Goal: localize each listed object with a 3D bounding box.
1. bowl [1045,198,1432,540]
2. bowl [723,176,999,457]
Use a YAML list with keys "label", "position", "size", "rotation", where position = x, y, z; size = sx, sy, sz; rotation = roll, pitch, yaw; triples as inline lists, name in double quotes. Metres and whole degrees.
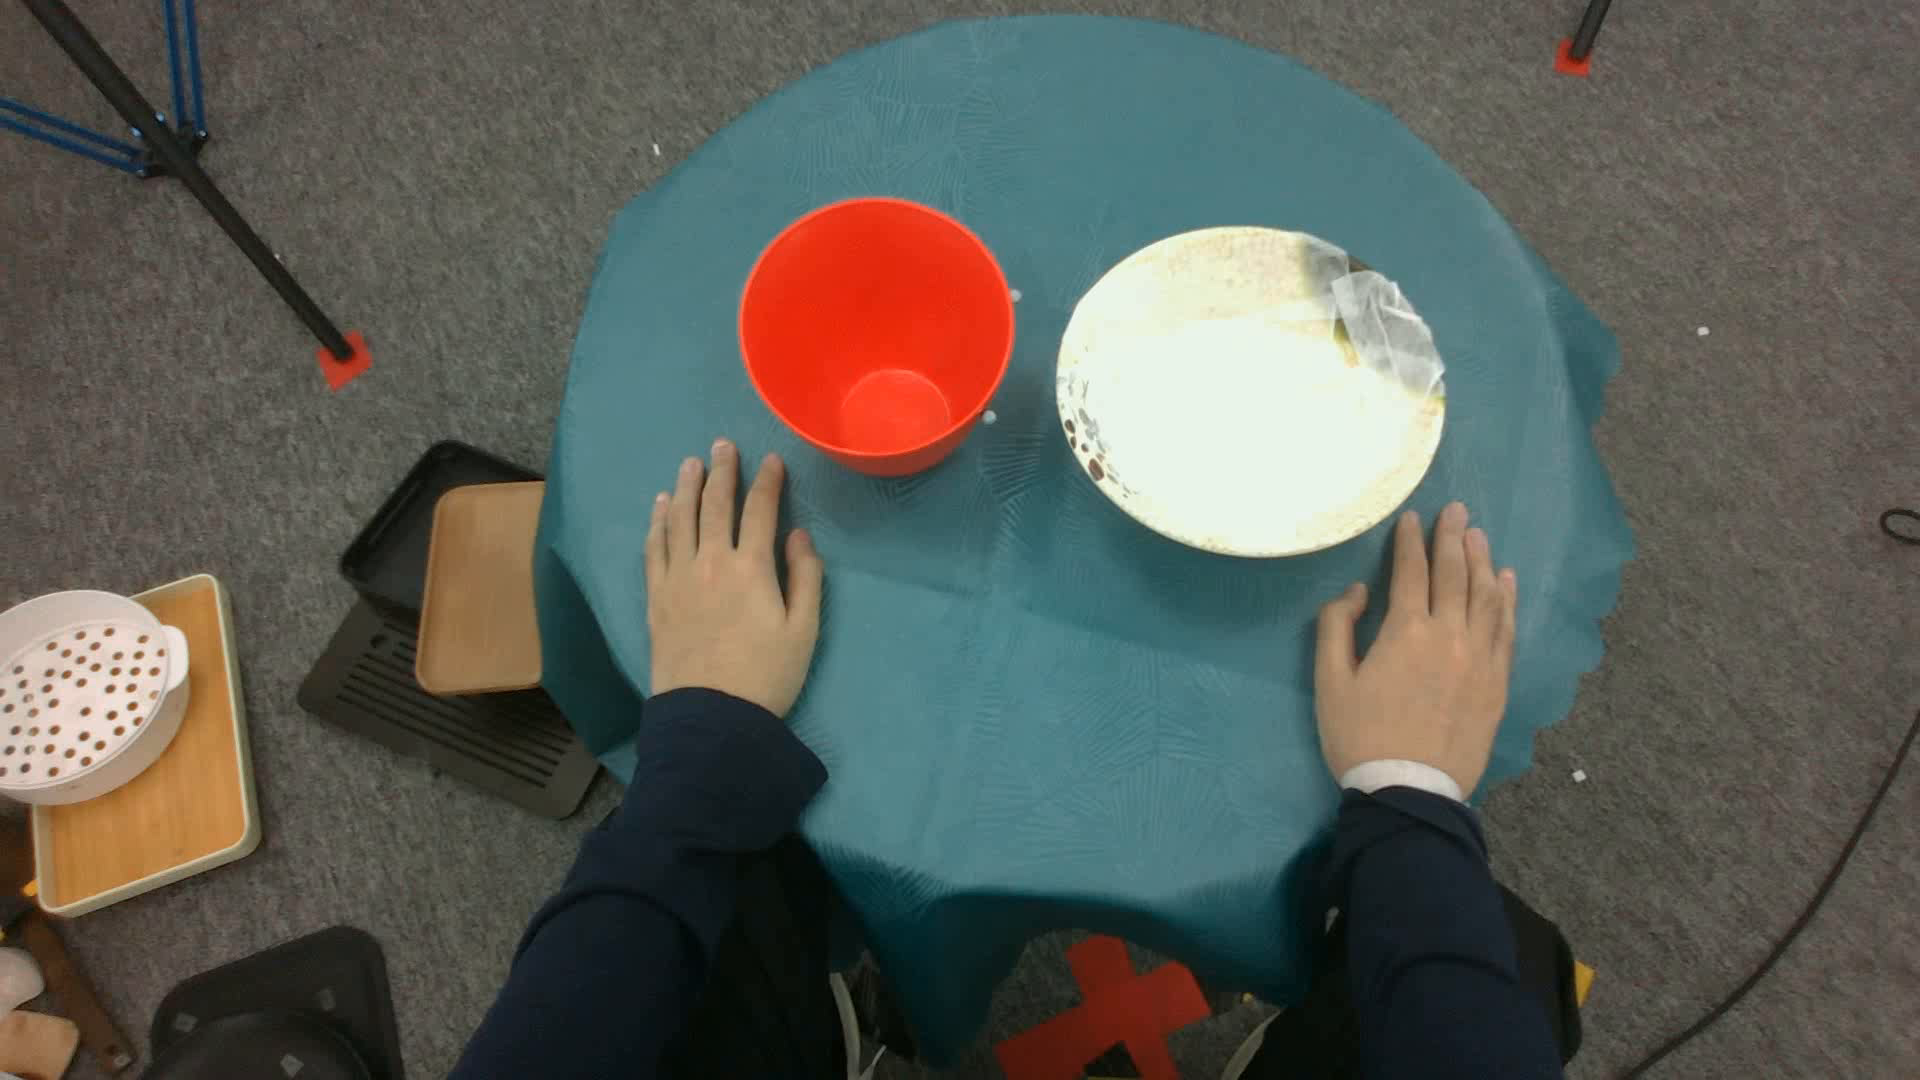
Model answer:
- label: "bowl"
  position: [0.150, -0.084, 0.767]
  size: [0.204, 0.078, 0.204]
  rotation: [-1, 69, 4]
- label: "bowl"
  position: [-0.051, -0.111, 0.771]
  size: [0.148, 0.104, 0.148]
  rotation: [-1, 68, 2]
